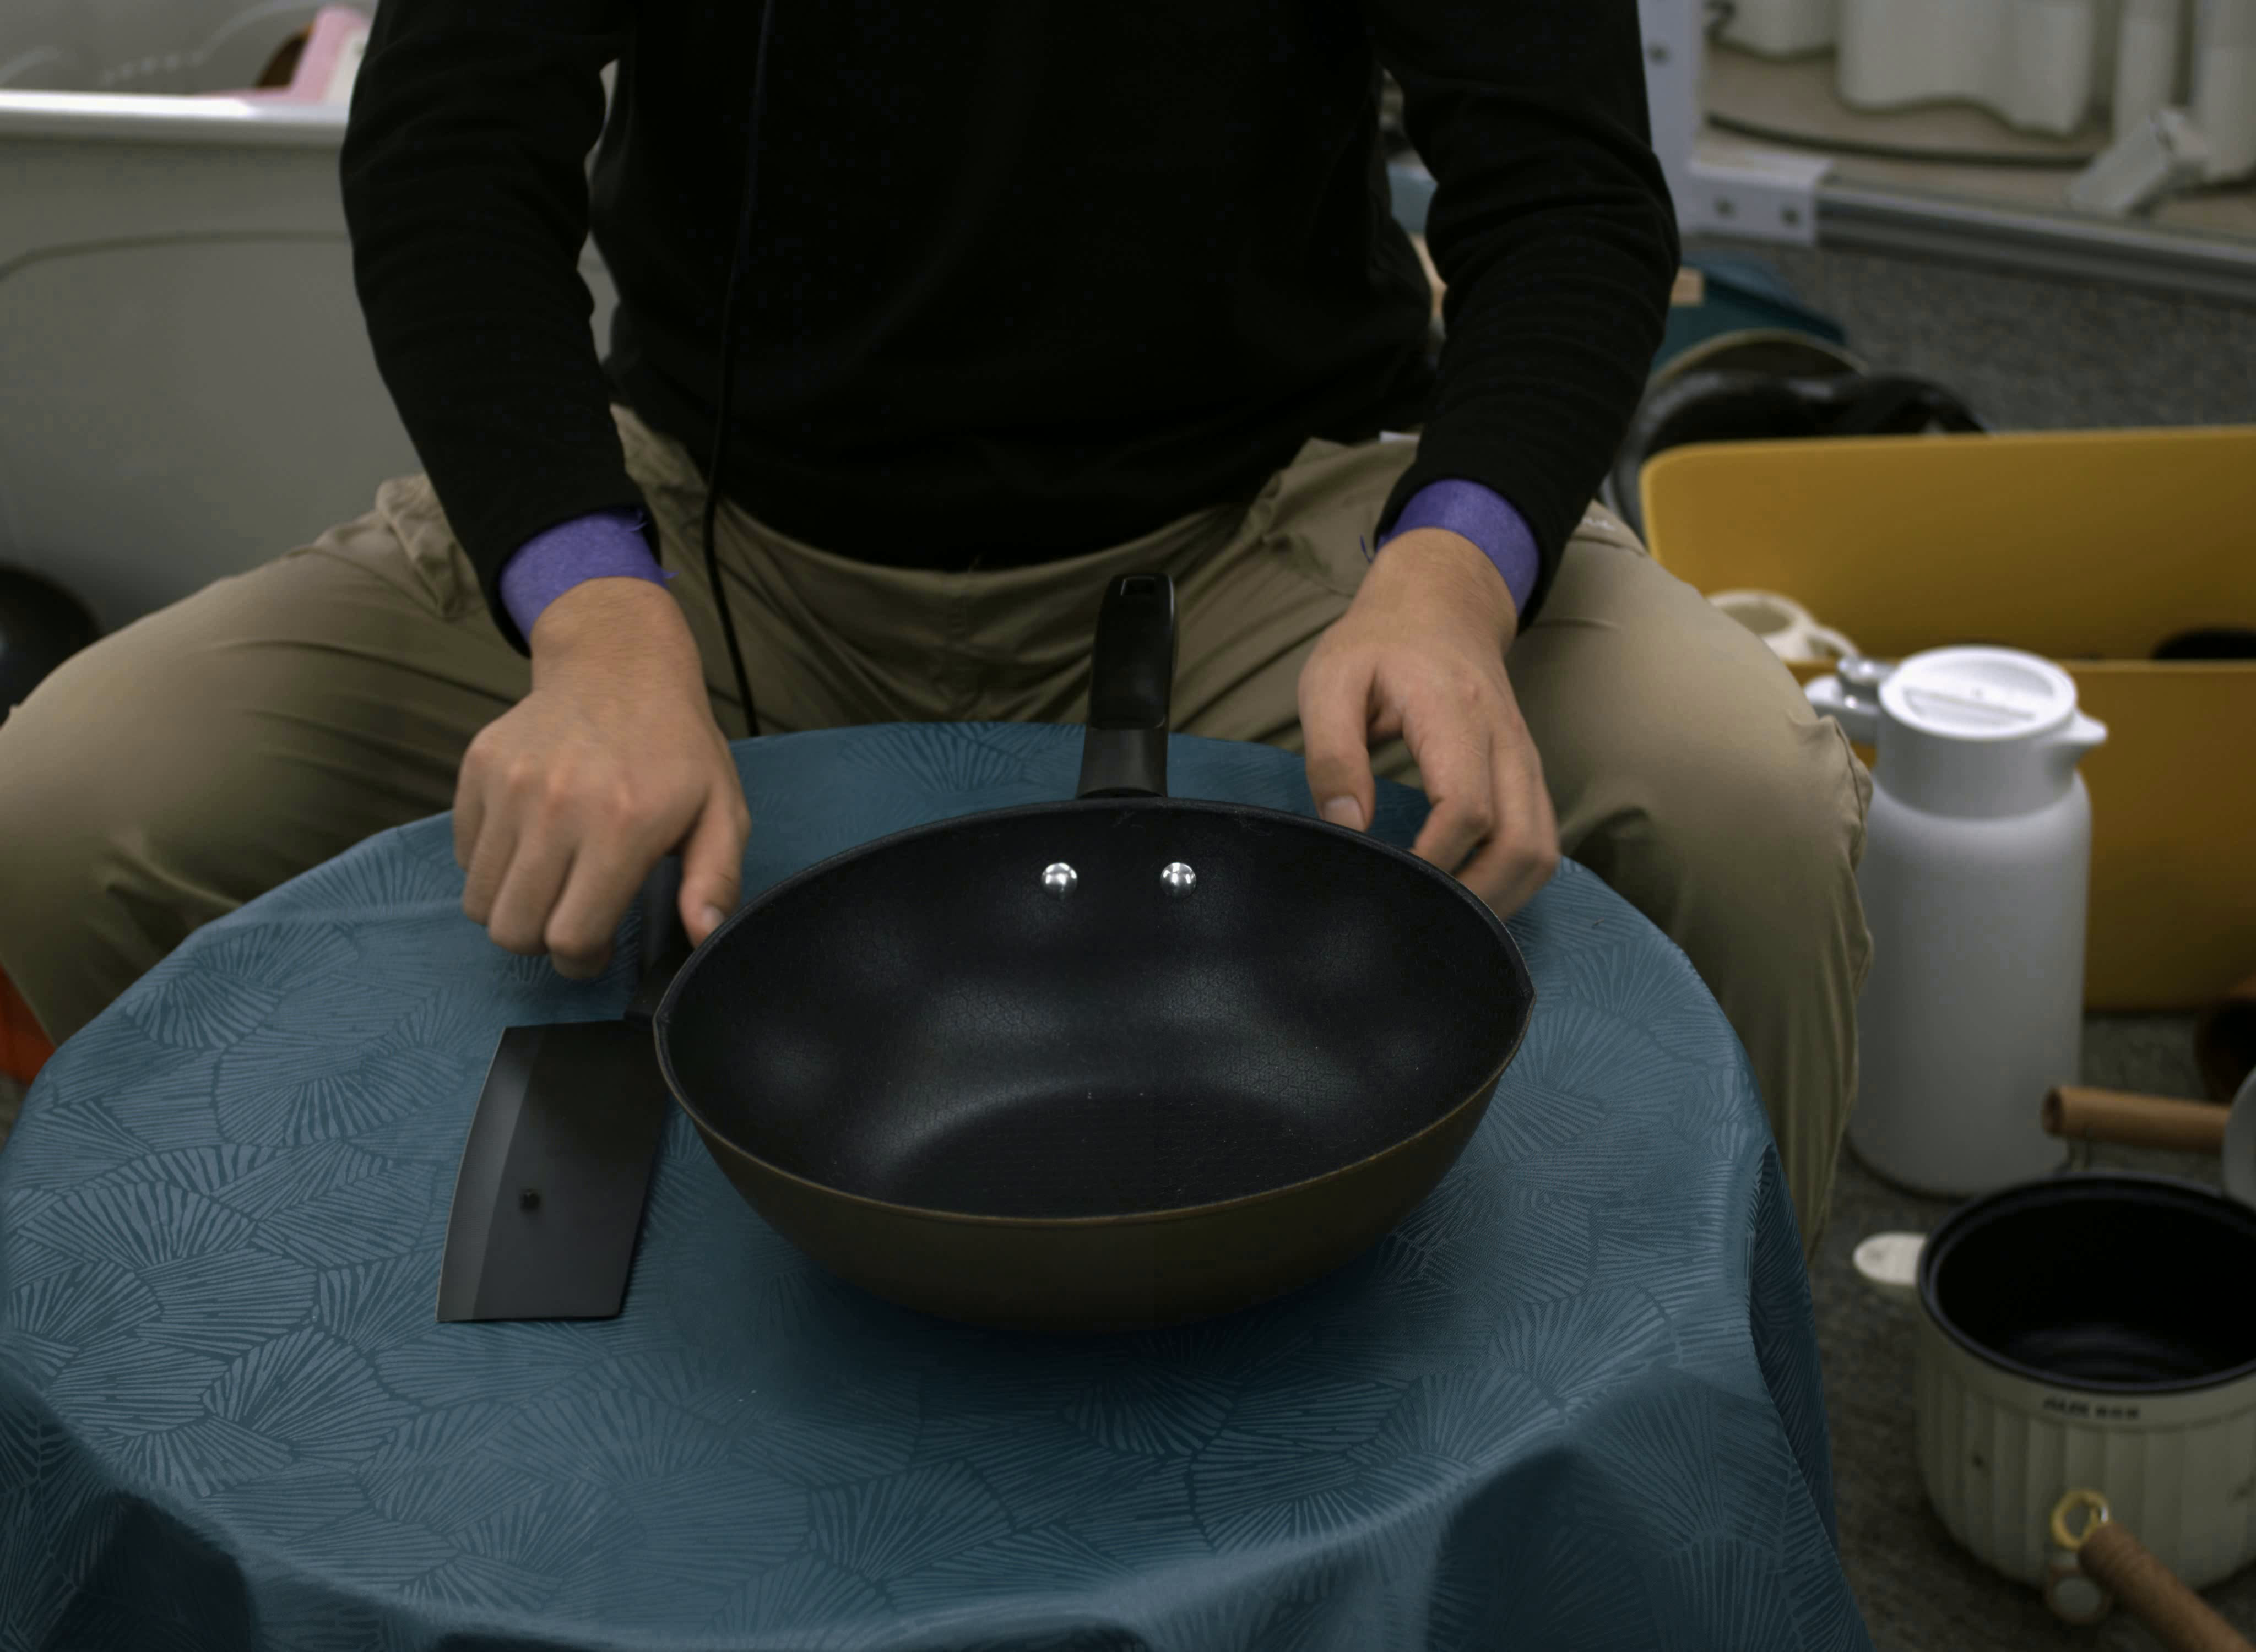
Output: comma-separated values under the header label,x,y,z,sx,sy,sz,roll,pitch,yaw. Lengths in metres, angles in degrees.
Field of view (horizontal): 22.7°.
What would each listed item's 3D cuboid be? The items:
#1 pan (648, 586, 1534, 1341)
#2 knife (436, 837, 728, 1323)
label,x,y,z,sx,sy,sz,roll,pitch,yaw
pan,-0.005,0.048,1.913,0.286,0.086,0.470,-1,27,4
knife,-0.183,0.085,1.933,0.080,0.020,0.307,0,29,9
